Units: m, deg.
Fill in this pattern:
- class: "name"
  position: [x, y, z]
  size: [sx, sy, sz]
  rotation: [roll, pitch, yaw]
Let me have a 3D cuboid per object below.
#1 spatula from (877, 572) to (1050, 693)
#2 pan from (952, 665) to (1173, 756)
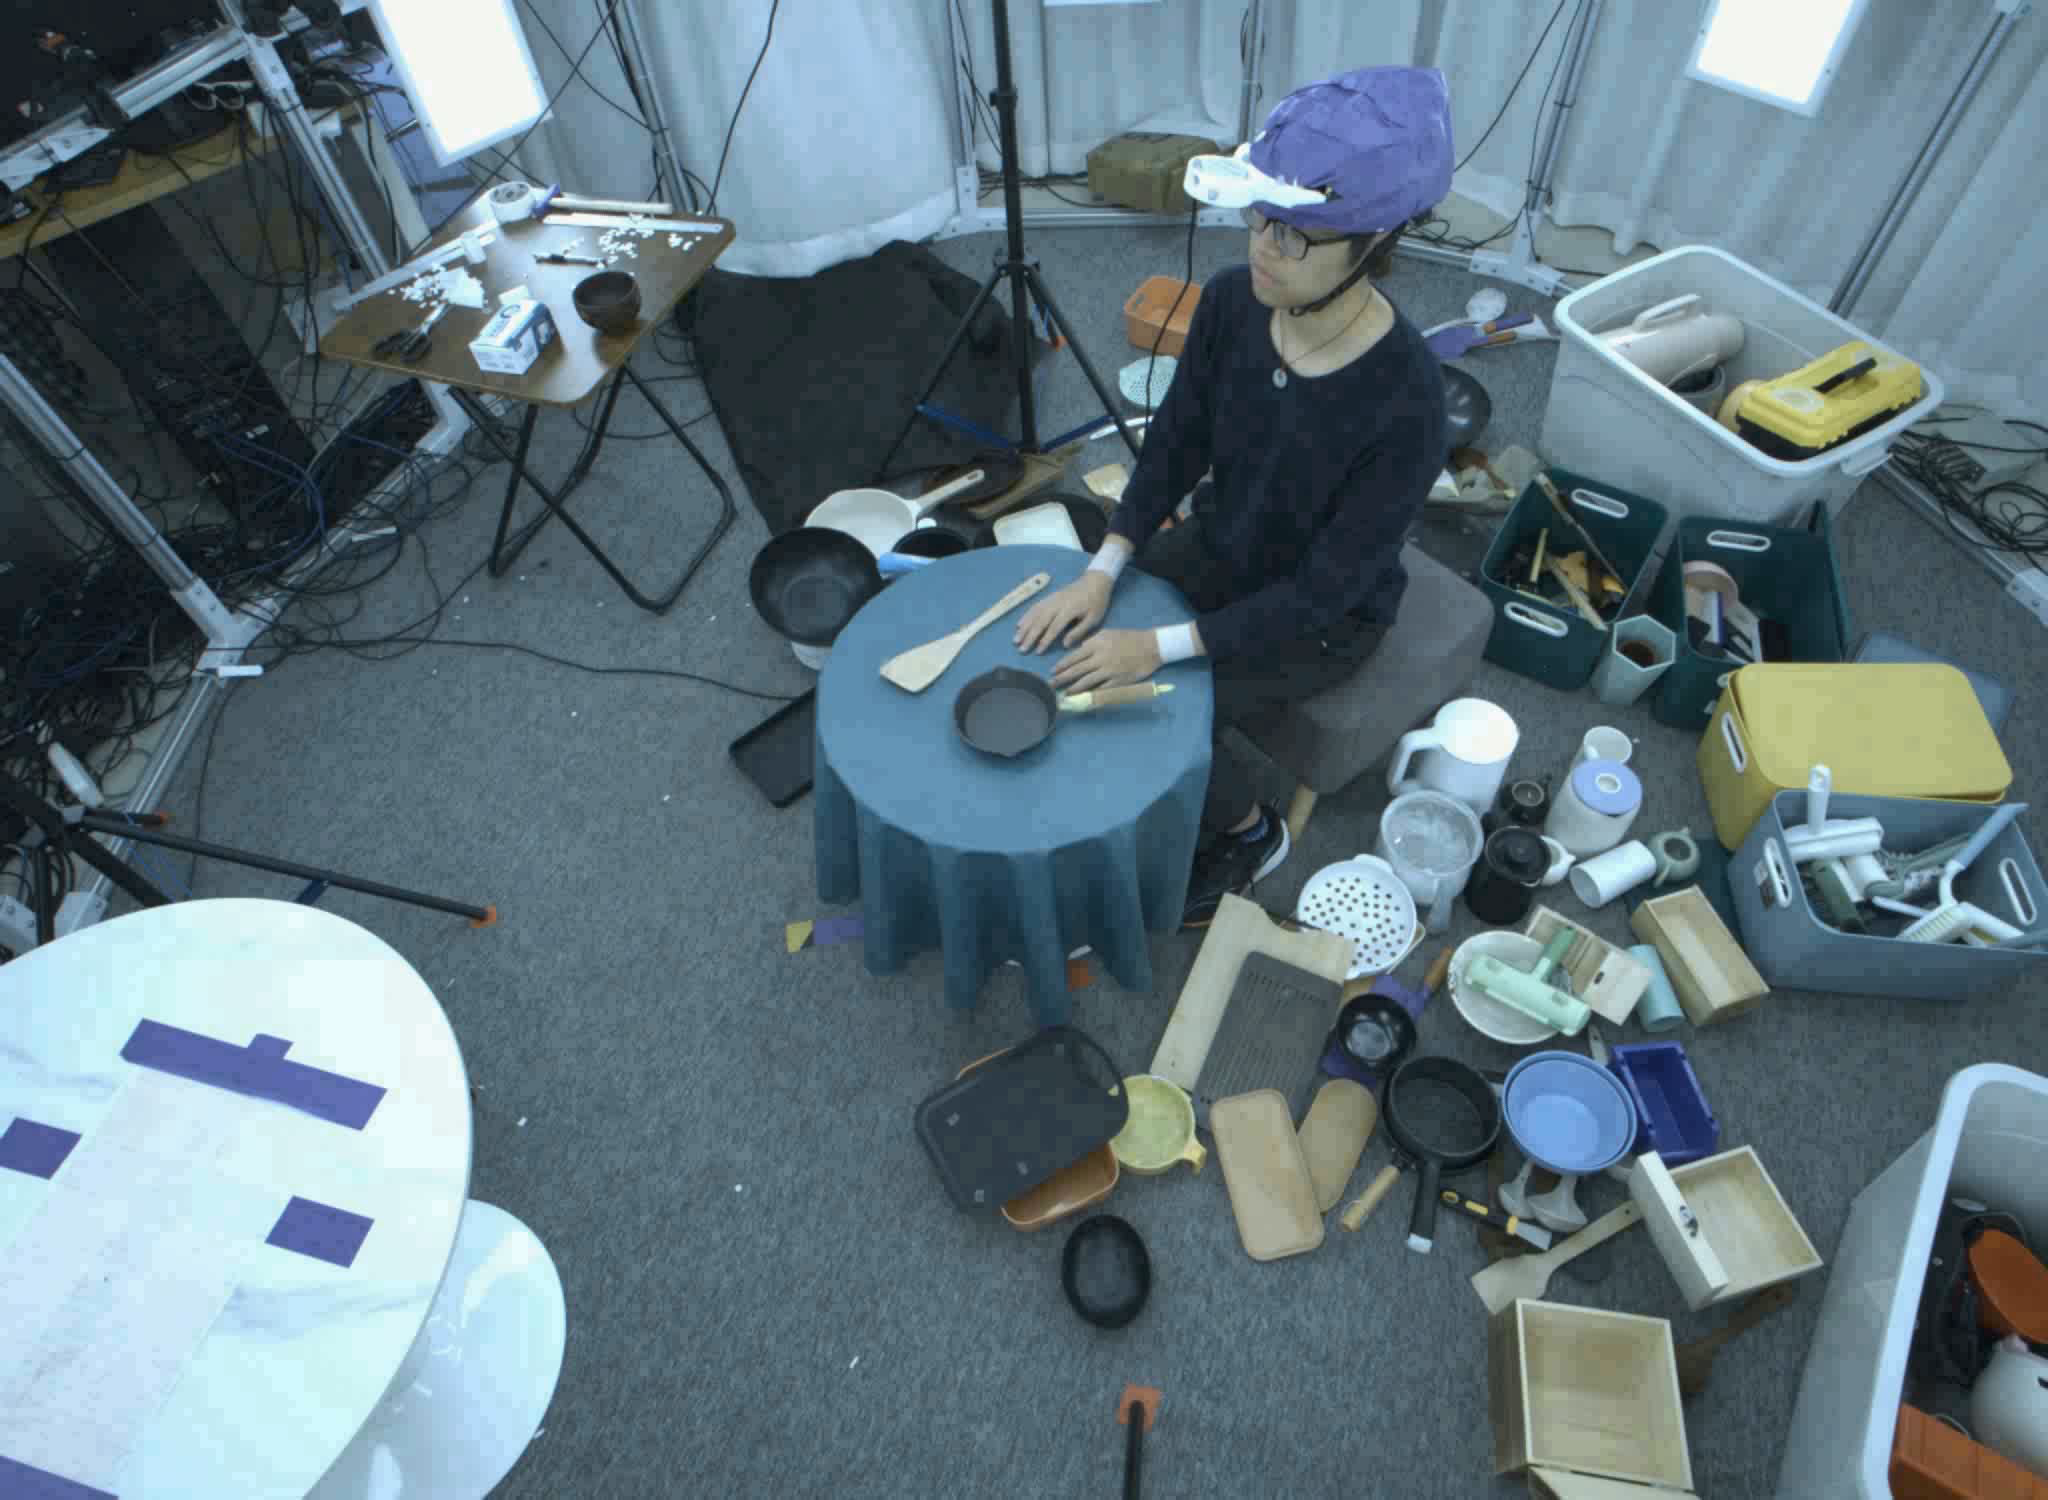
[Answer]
- class: "spatula"
  position: [-0.082, -0.190, 1.915]
  size: [0.330, 0.017, 0.078]
  rotation: [-38, 63, -22]
- class: "pan"
  position: [0.057, -0.064, 1.799]
  size: [0.324, 0.050, 0.167]
  rotation: [-6, 55, 0]
